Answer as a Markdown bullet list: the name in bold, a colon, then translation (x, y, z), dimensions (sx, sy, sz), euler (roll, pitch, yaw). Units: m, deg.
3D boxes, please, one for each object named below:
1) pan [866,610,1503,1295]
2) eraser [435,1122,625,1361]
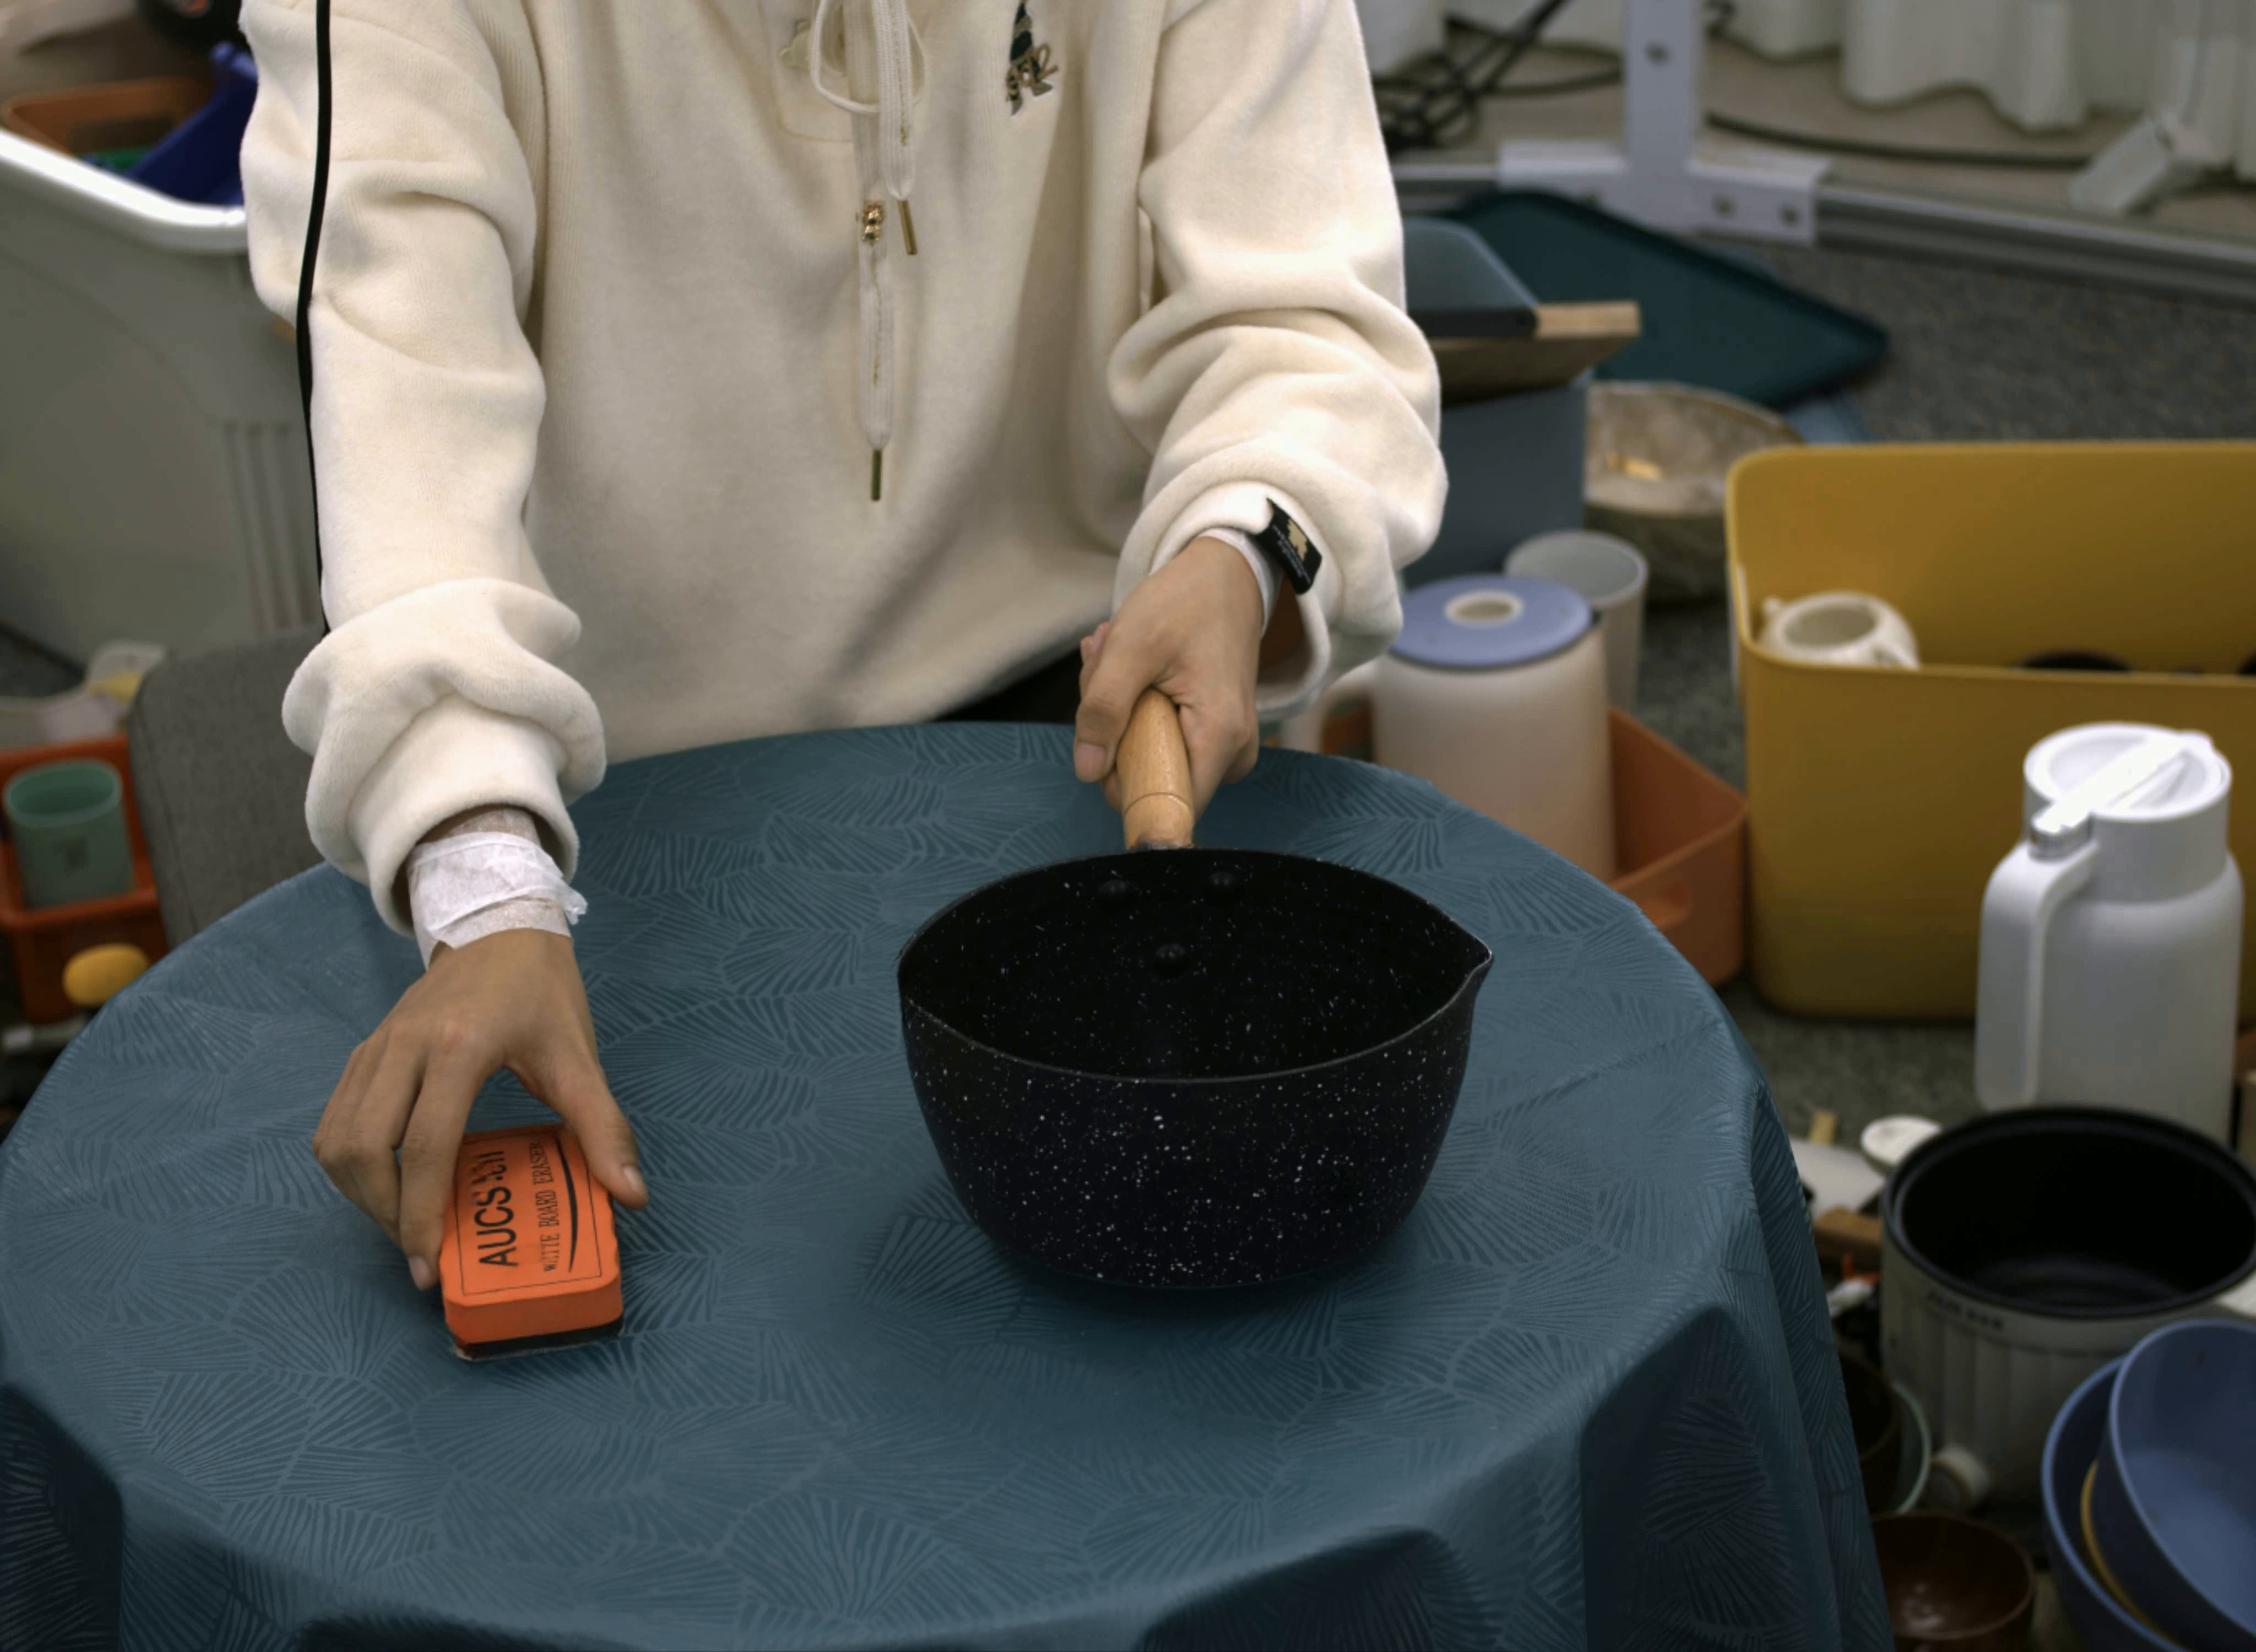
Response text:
- **pan**: translation (0.013, 0.039, 1.902), dimensions (0.207, 0.107, 0.347), euler (-4, 24, -4)
- **eraser**: translation (-0.196, 0.135, 1.830), dimensions (0.059, 0.022, 0.109), euler (-7, 27, -5)
